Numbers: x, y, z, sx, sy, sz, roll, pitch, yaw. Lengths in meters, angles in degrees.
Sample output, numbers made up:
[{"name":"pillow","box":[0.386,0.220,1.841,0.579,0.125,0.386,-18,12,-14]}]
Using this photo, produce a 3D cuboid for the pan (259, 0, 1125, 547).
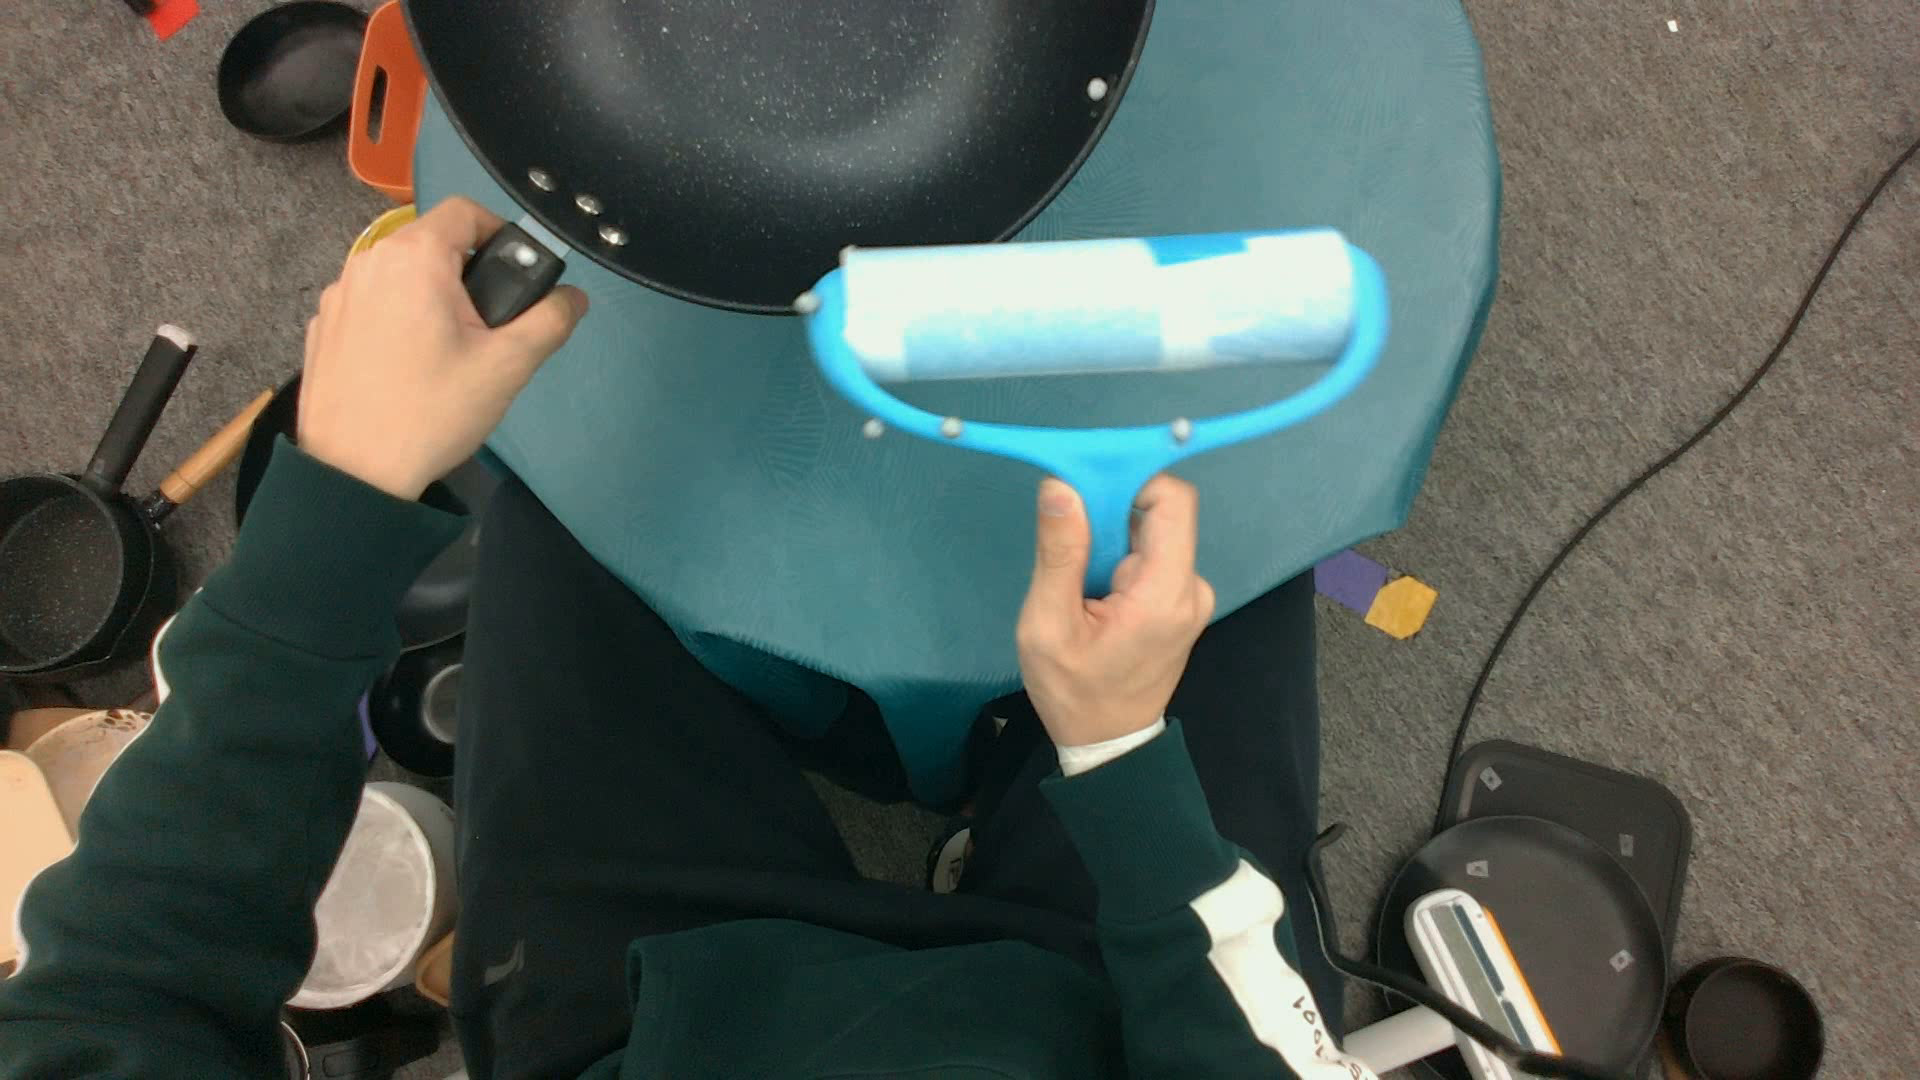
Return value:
[{"name":"pan","box":[-0.134,-0.196,0.586,0.310,0.112,0.476,37,97,-6]}]

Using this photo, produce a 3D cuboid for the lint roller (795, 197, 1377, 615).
[{"name":"lint roller","box":[0.054,-0.045,0.560,0.229,0.068,0.180,-6,106,1]}]
